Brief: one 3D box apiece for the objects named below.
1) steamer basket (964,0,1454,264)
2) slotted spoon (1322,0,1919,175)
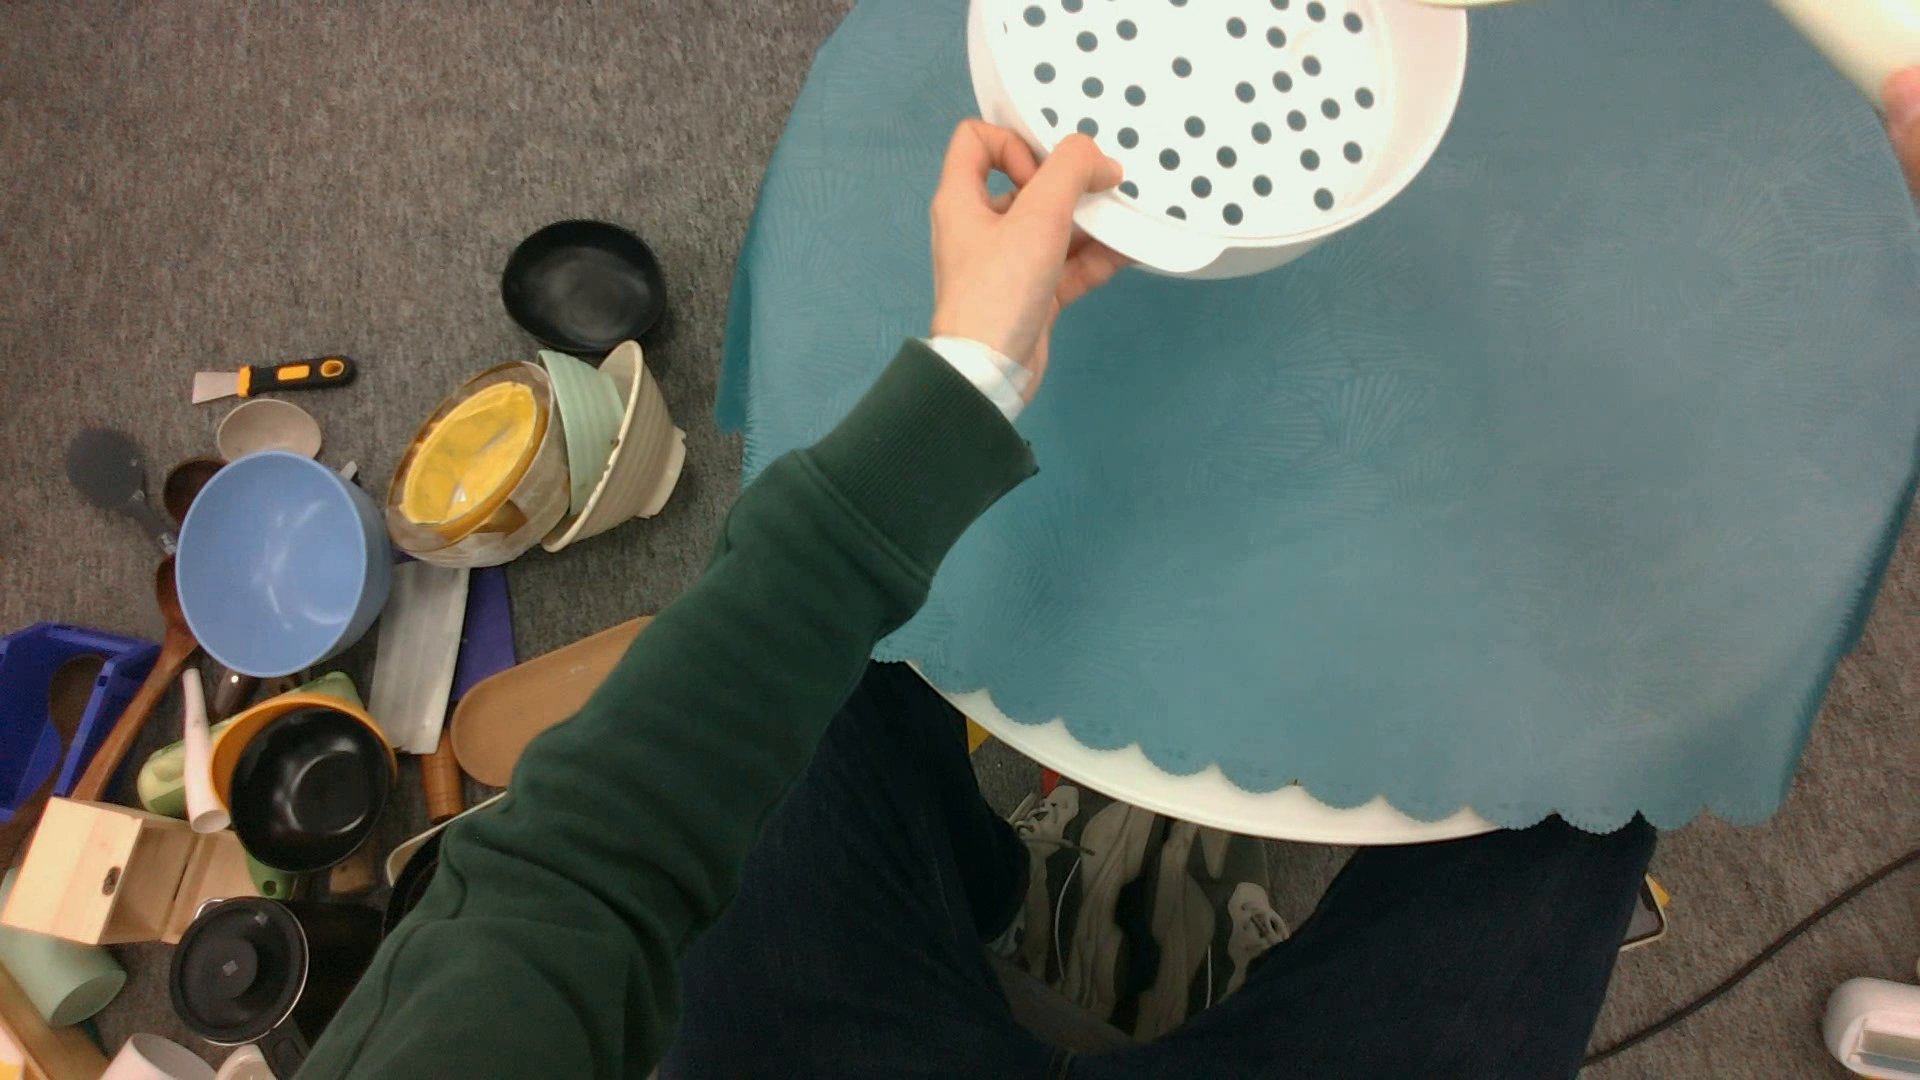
[{"bbox_3d":[0.100,-0.216,0.580,0.202,0.069,0.231,24,79,-6],"label":"steamer basket"},{"bbox_3d":[0.213,-0.174,0.394,0.168,0.075,0.360,-49,53,31],"label":"slotted spoon"}]
